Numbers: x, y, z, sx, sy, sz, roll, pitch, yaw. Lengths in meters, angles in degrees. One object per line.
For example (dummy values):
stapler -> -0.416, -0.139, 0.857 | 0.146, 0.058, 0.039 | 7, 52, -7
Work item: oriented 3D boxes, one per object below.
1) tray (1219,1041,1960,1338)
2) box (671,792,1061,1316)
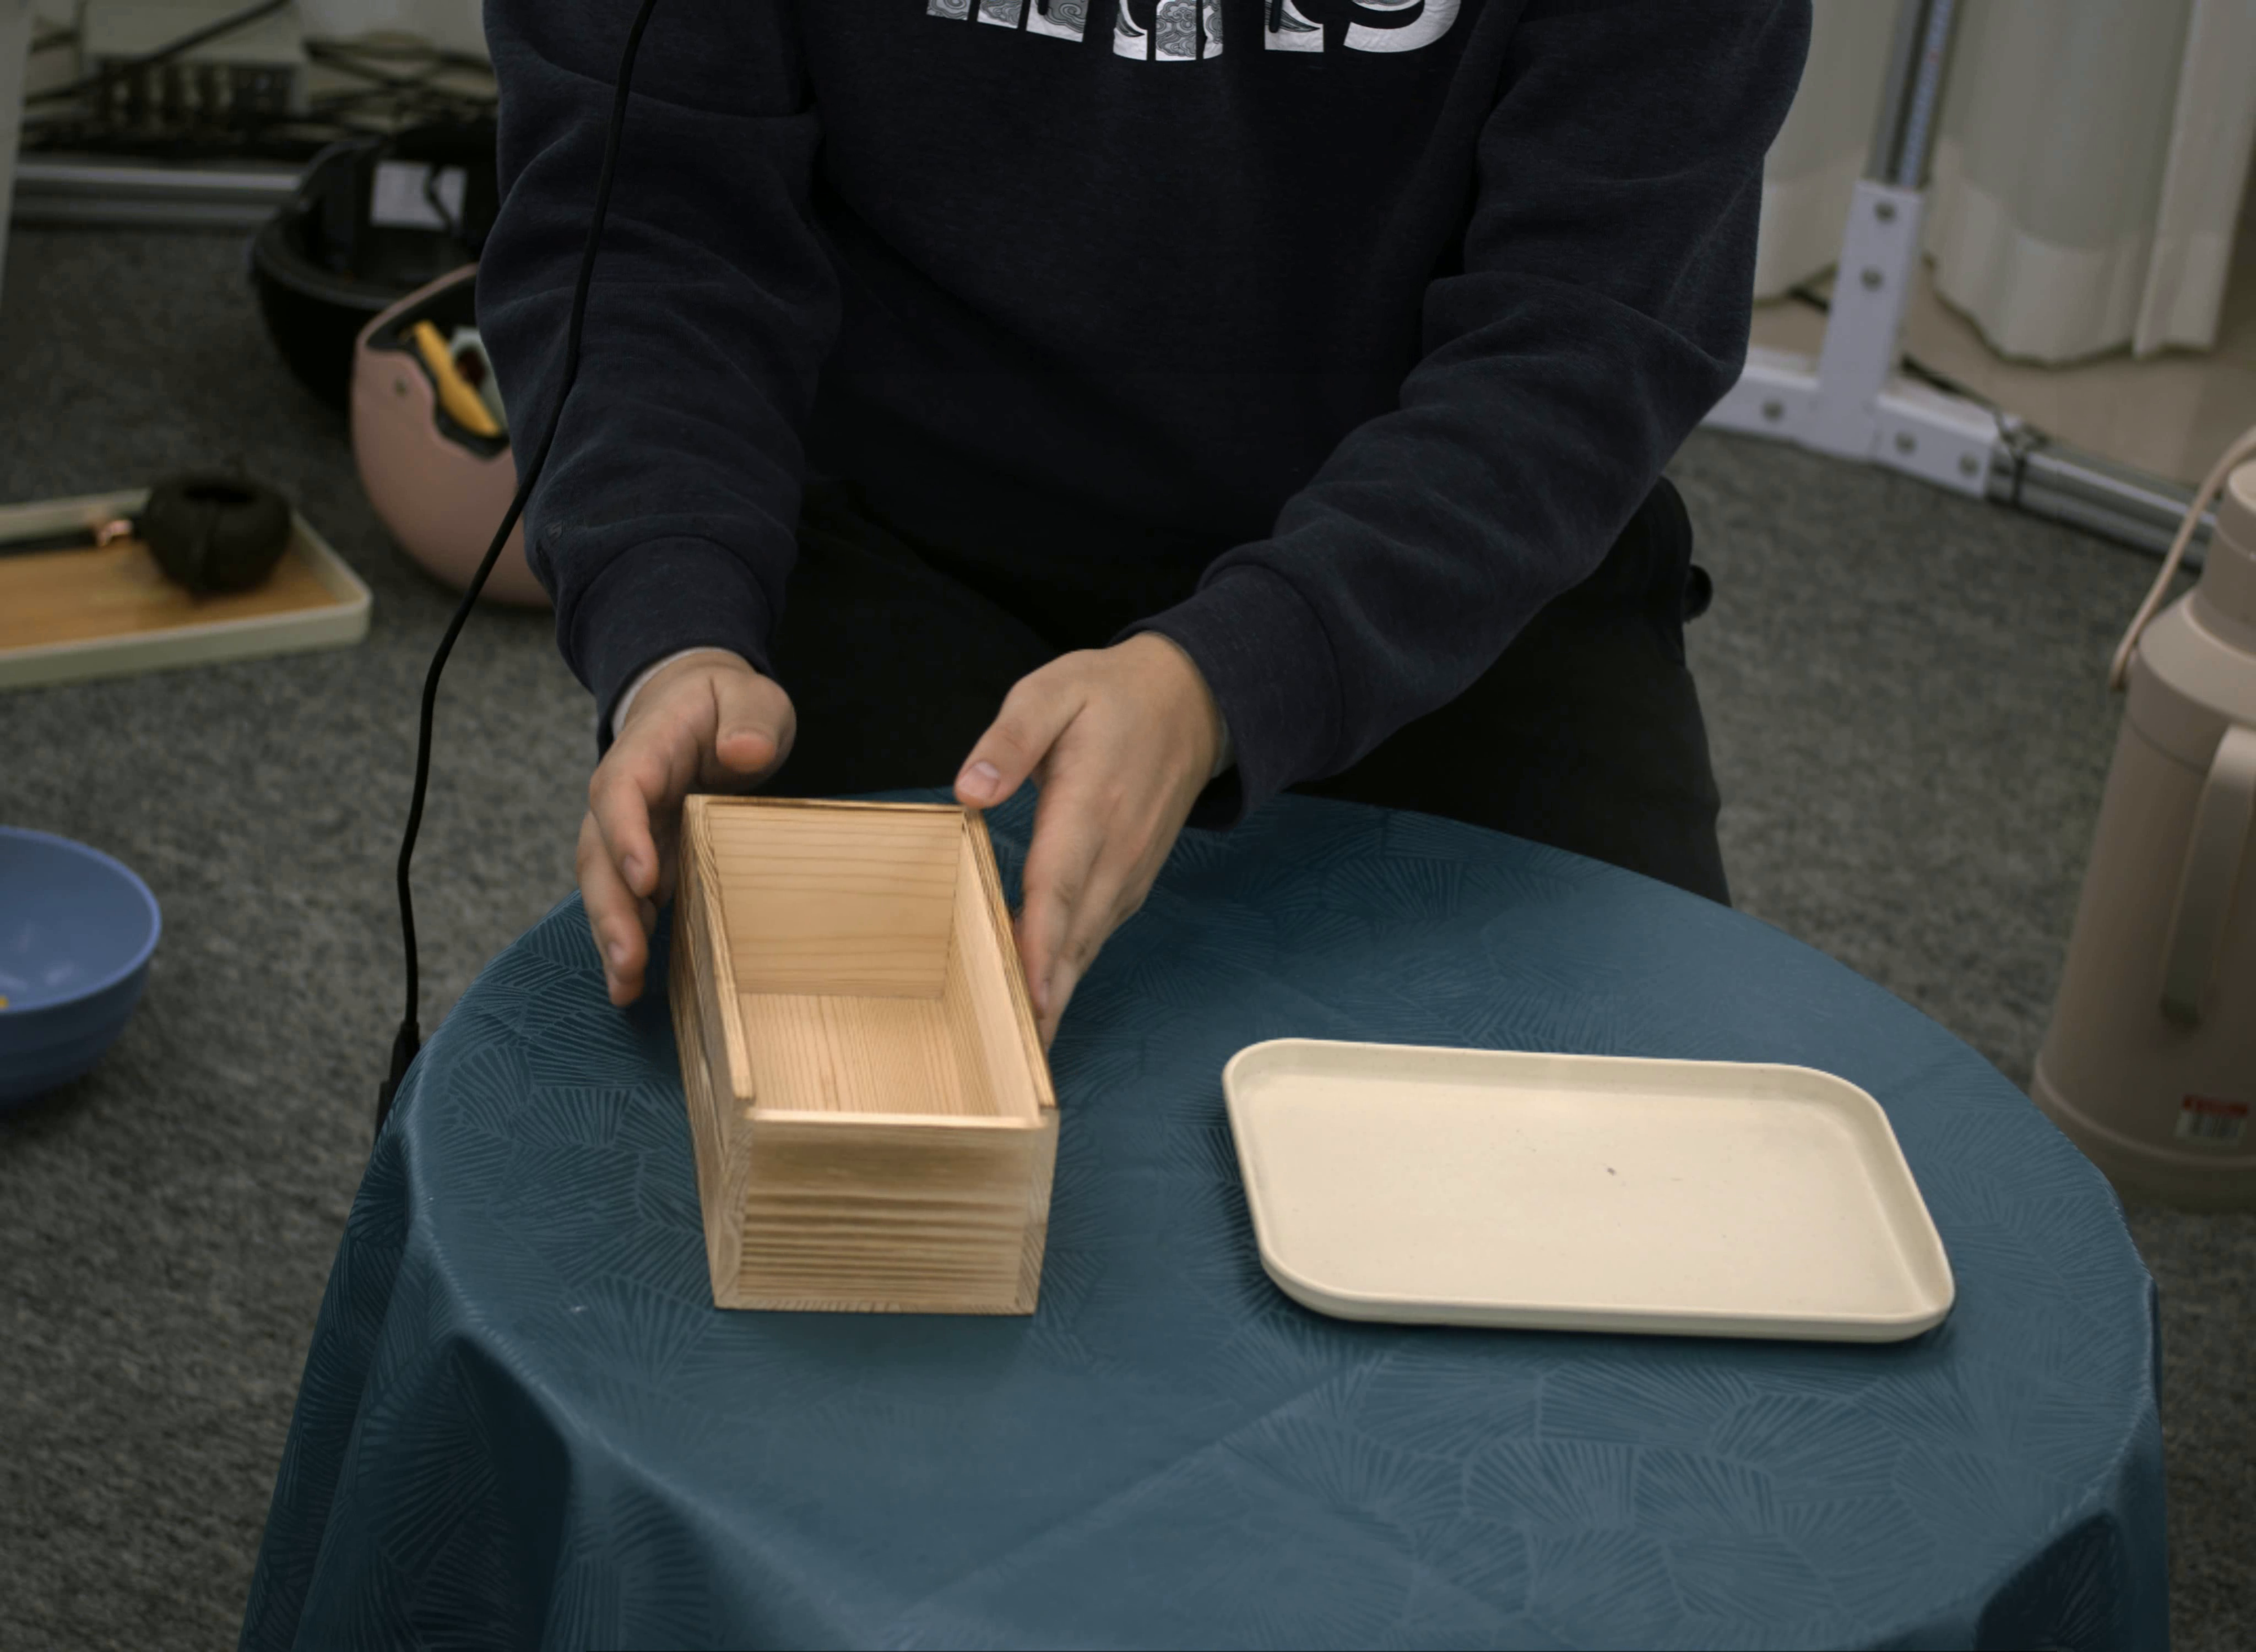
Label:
tray -> 0.155, 0.125, 1.820 | 0.238, 0.017, 0.172 | 3, 26, -8
box -> -0.092, 0.074, 1.795 | 0.107, 0.080, 0.213 | 2, 27, -11
